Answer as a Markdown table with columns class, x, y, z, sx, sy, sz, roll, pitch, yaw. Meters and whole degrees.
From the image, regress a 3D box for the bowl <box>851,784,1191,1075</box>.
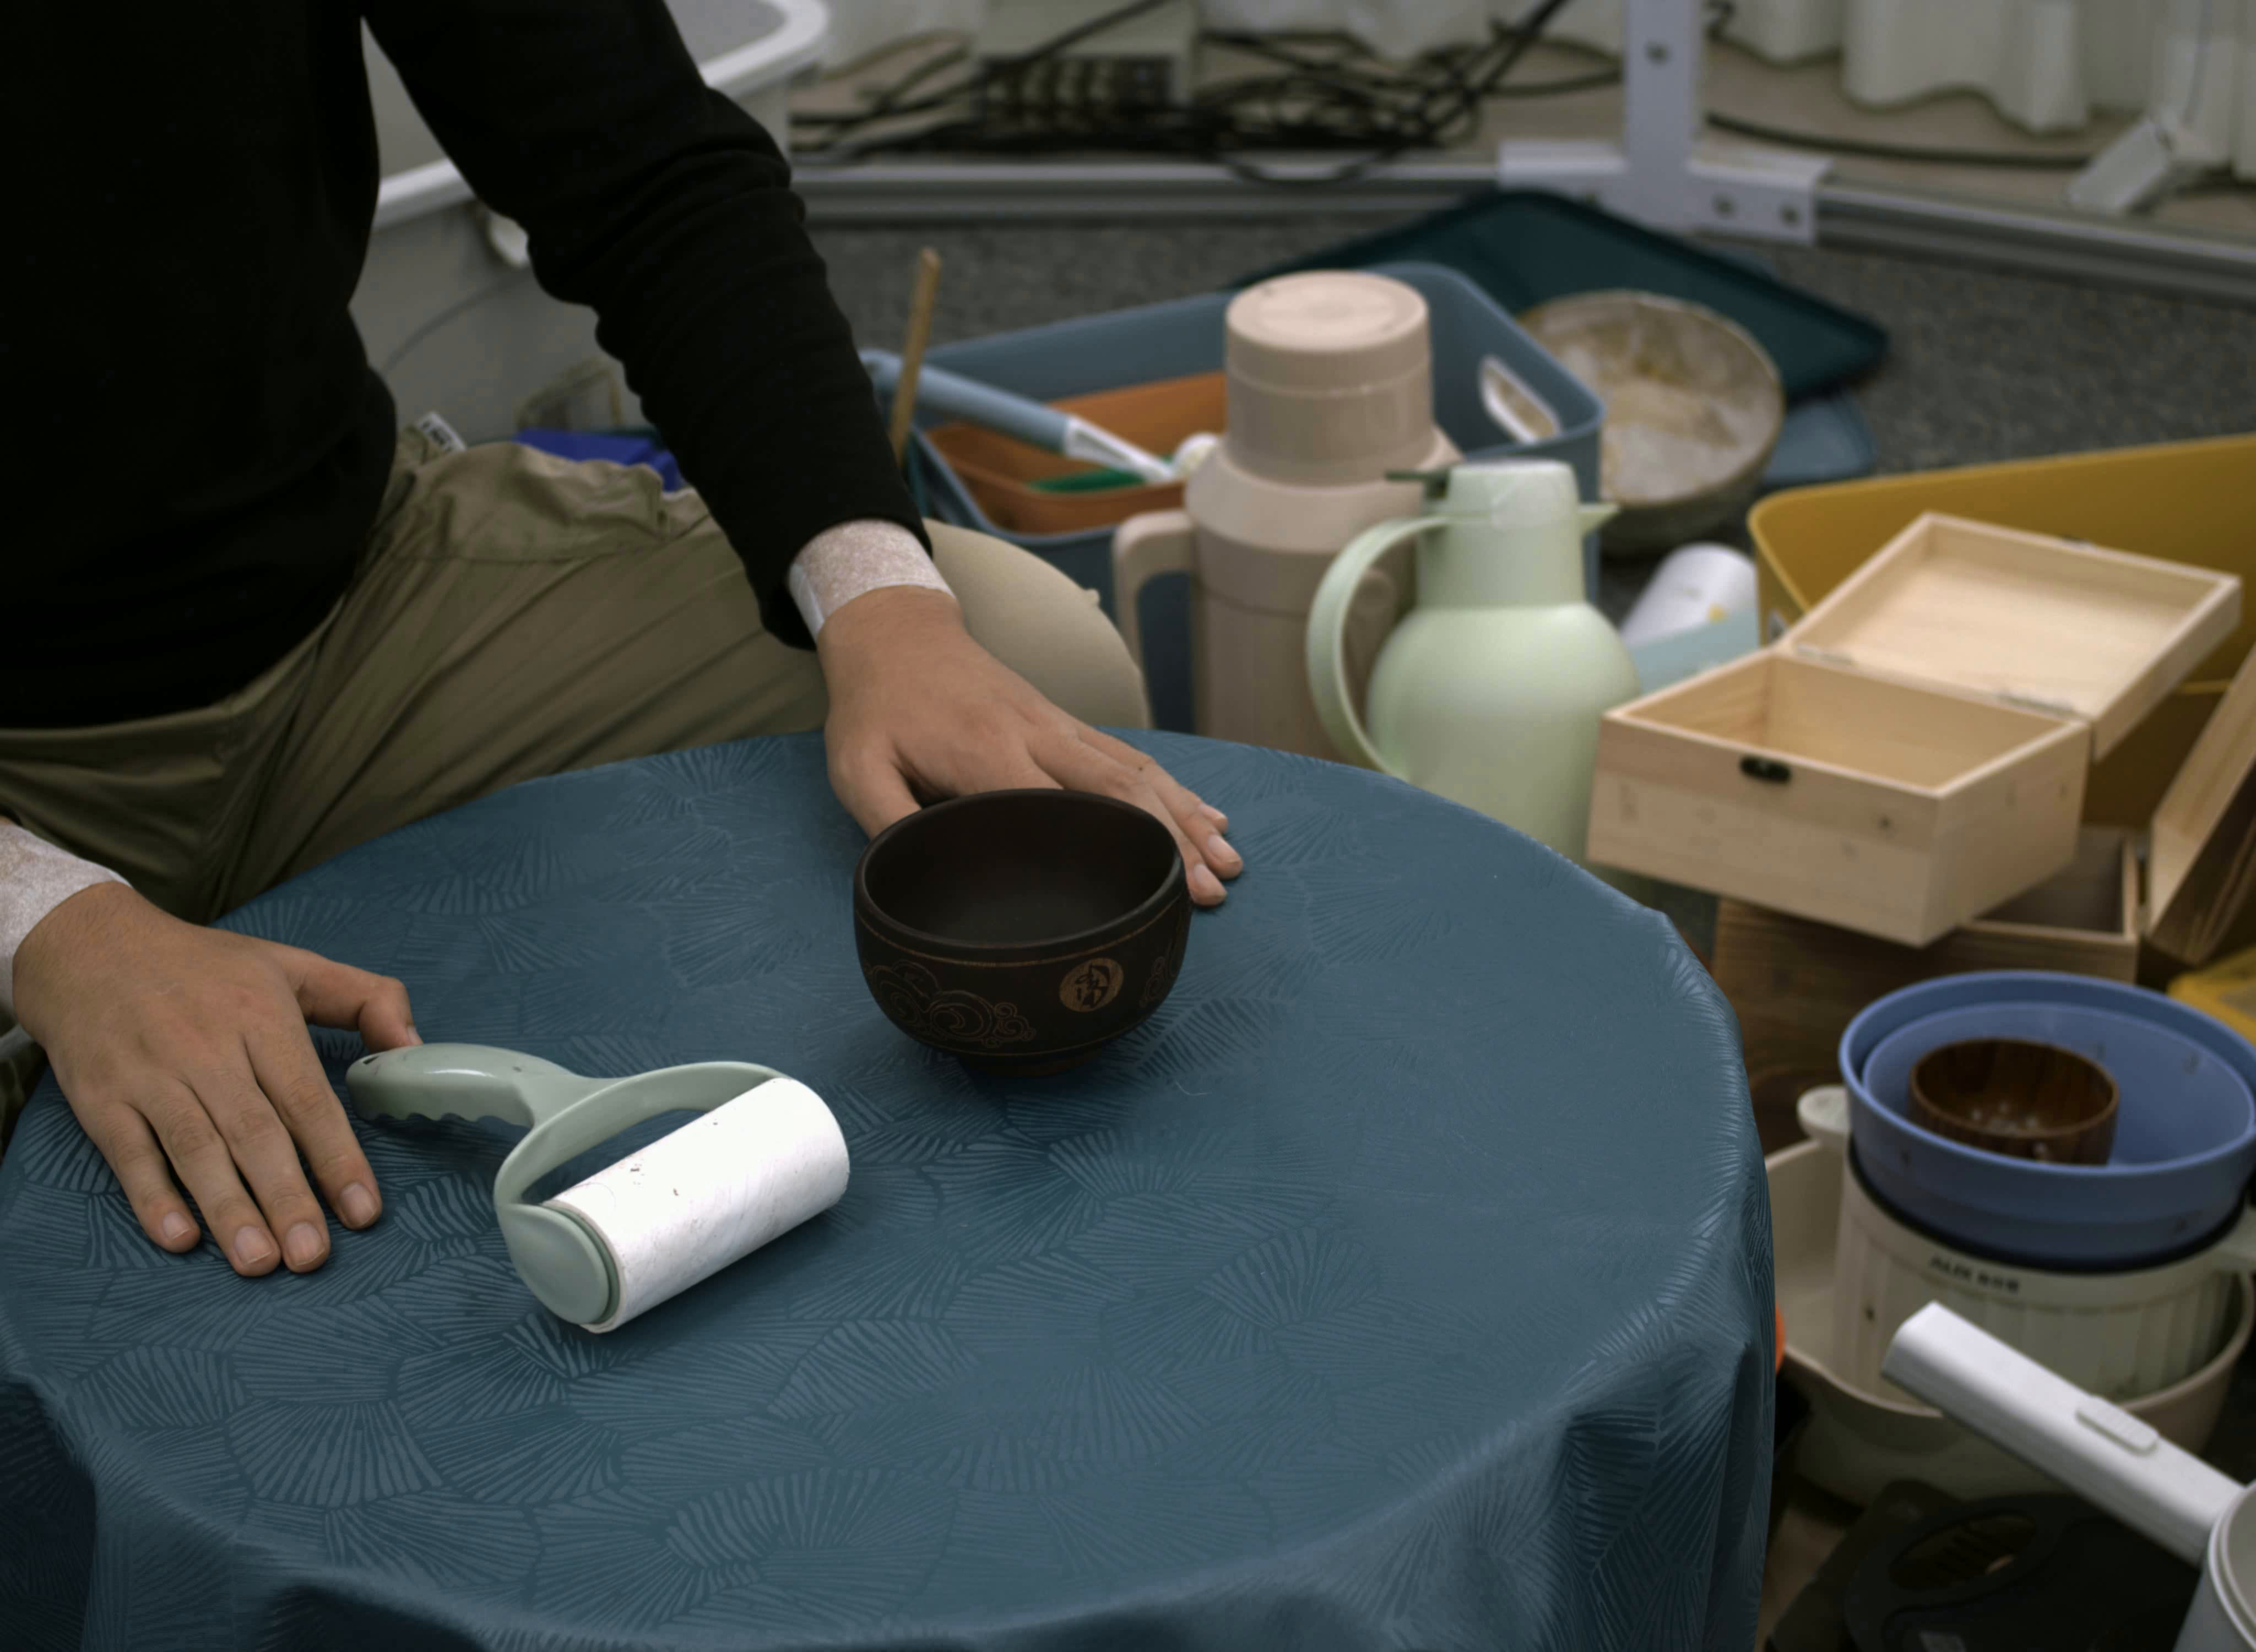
| class | x | y | z | sx | sy | sz | roll | pitch | yaw |
| --- | --- | --- | --- | --- | --- | --- | --- | --- | --- |
| bowl | -0.036 | 0.042 | 1.941 | 0.117 | 0.069 | 0.120 | -3 | 27 | 2 |

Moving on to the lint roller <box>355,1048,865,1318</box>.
| class | x | y | z | sx | sy | sz | roll | pitch | yaw |
| --- | --- | --- | --- | --- | --- | --- | --- | --- | --- |
| lint roller | -0.189 | 0.100 | 1.873 | 0.197 | 0.048 | 0.118 | 19 | 35 | 40 |
